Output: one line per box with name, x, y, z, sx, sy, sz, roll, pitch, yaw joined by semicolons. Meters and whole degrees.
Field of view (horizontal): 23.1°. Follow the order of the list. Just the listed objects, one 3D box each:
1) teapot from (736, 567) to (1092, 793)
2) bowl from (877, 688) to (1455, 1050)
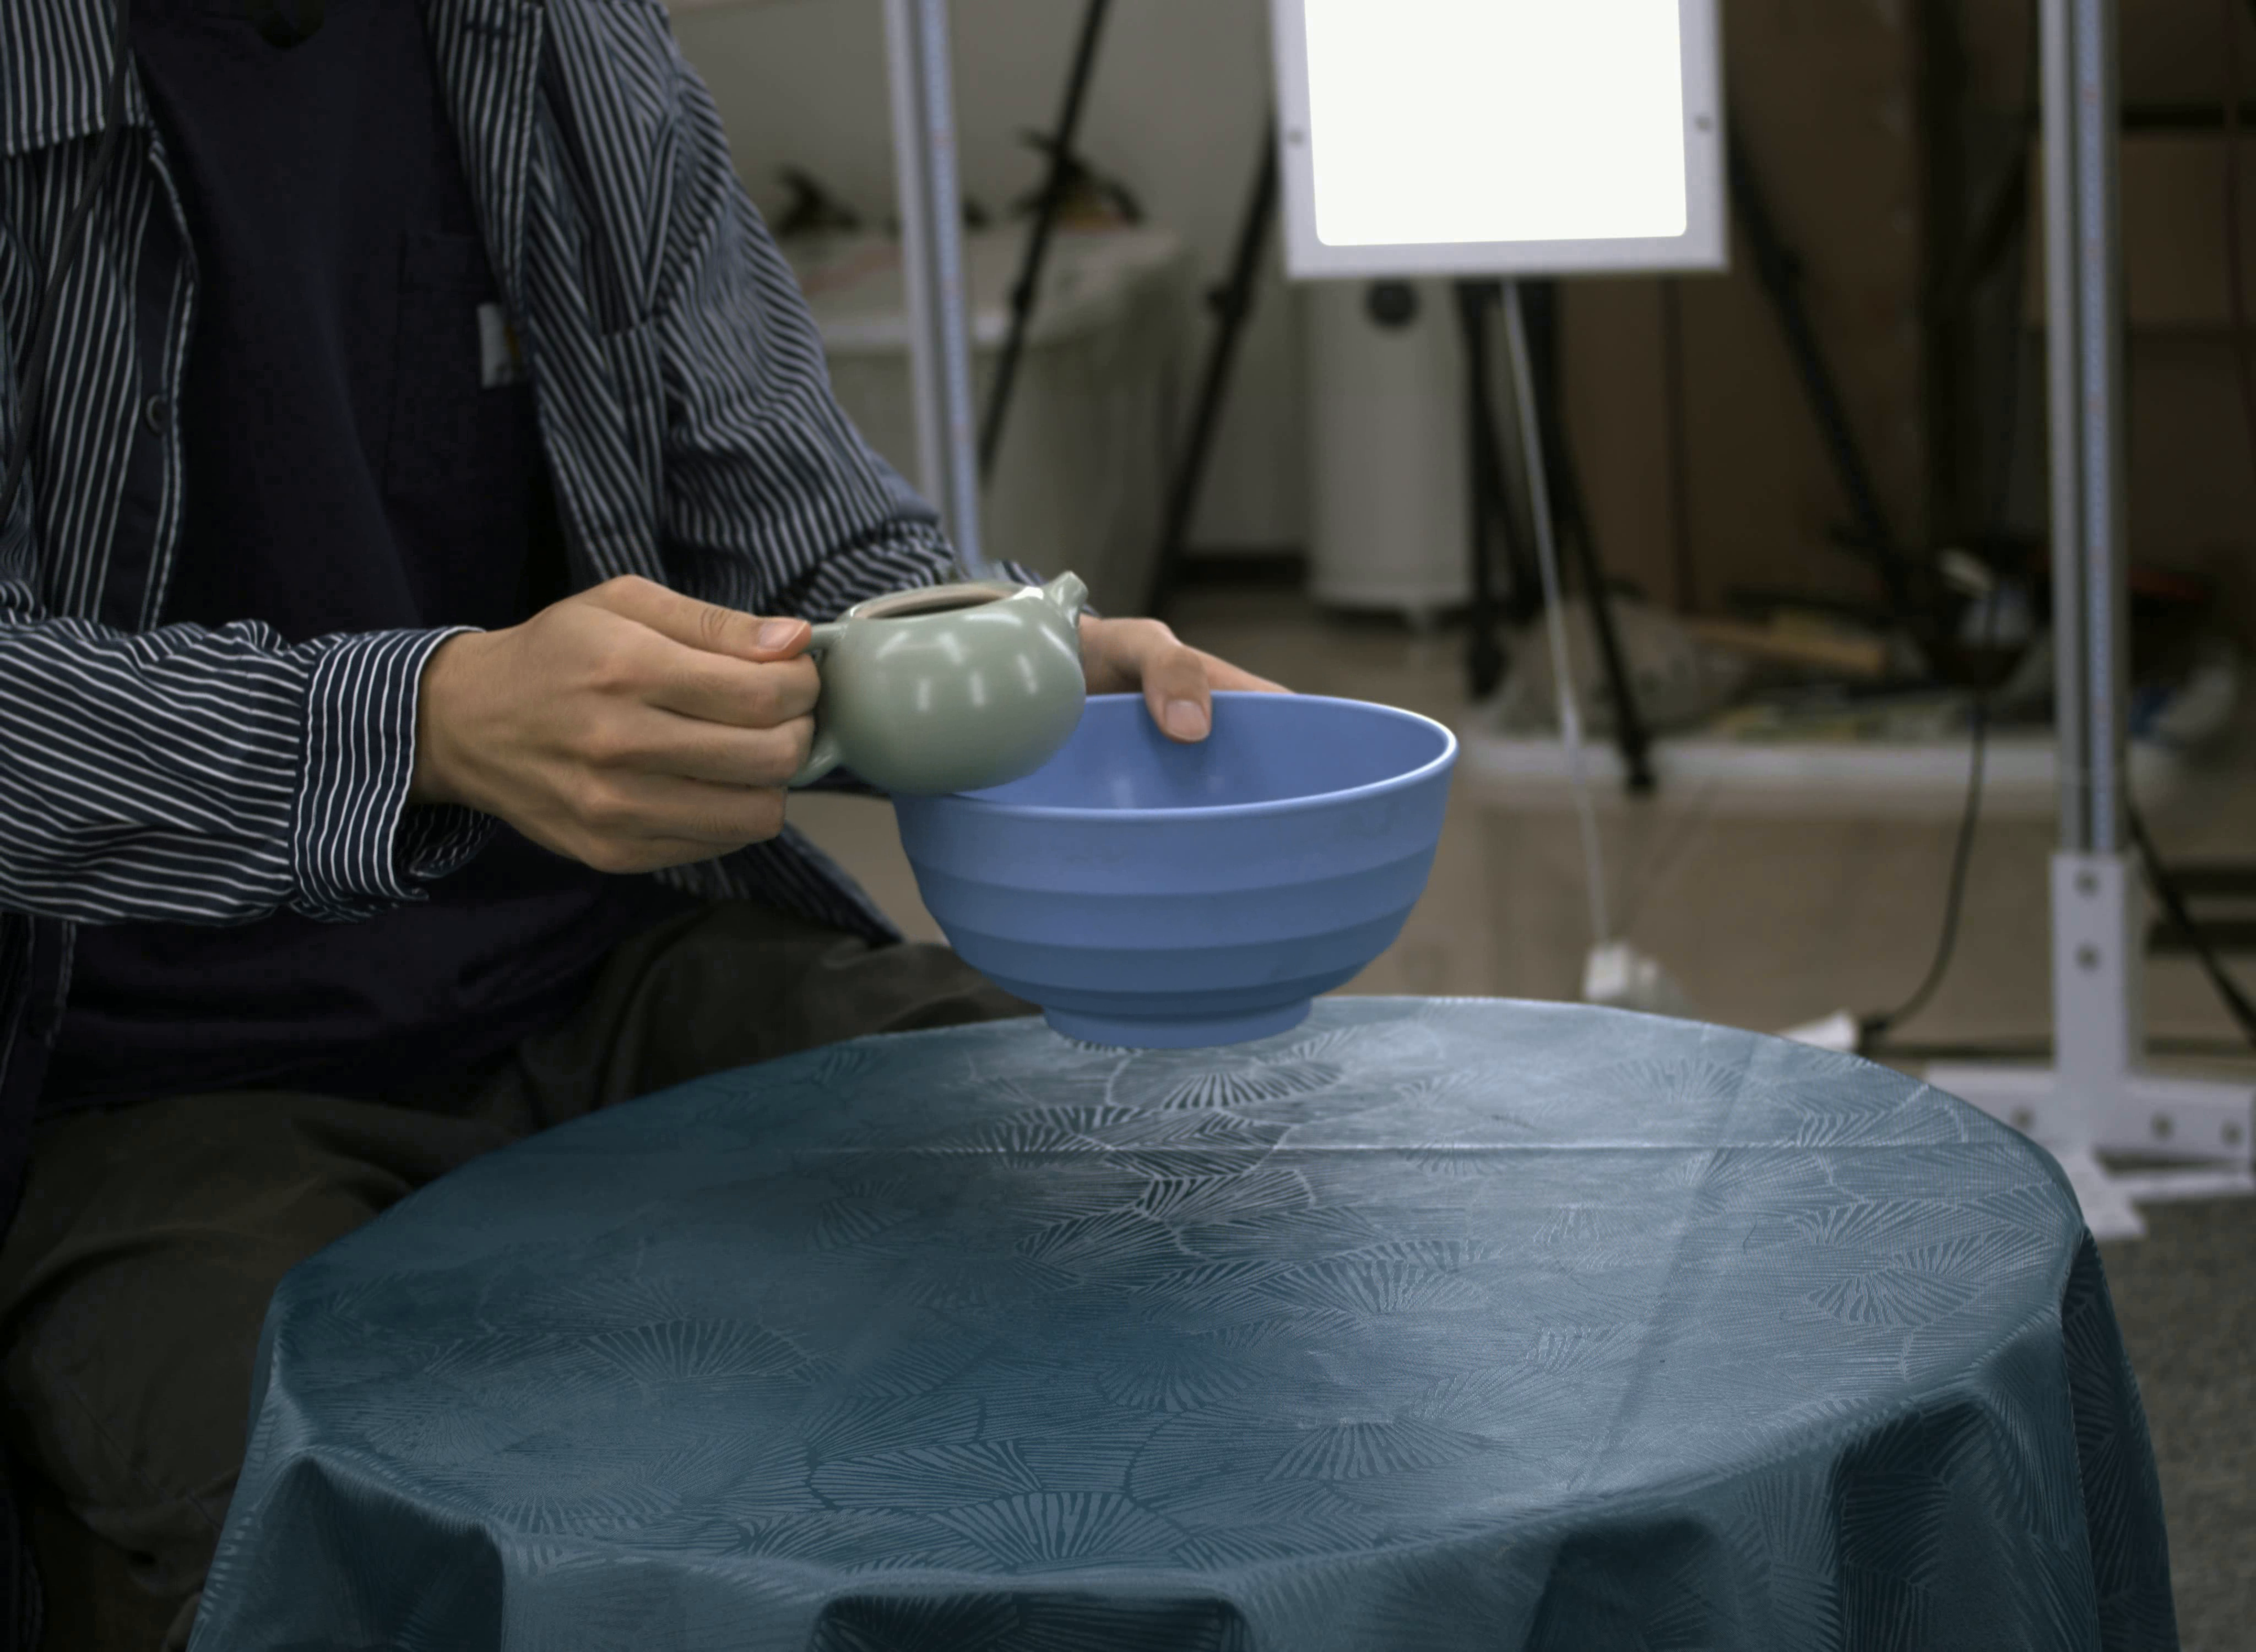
teapot;-0.067;-0.044;1.803;0.126;0.061;0.092;-13;14;-17
bowl;0.015;0.019;1.866;0.196;0.096;0.196;-3;13;-1
